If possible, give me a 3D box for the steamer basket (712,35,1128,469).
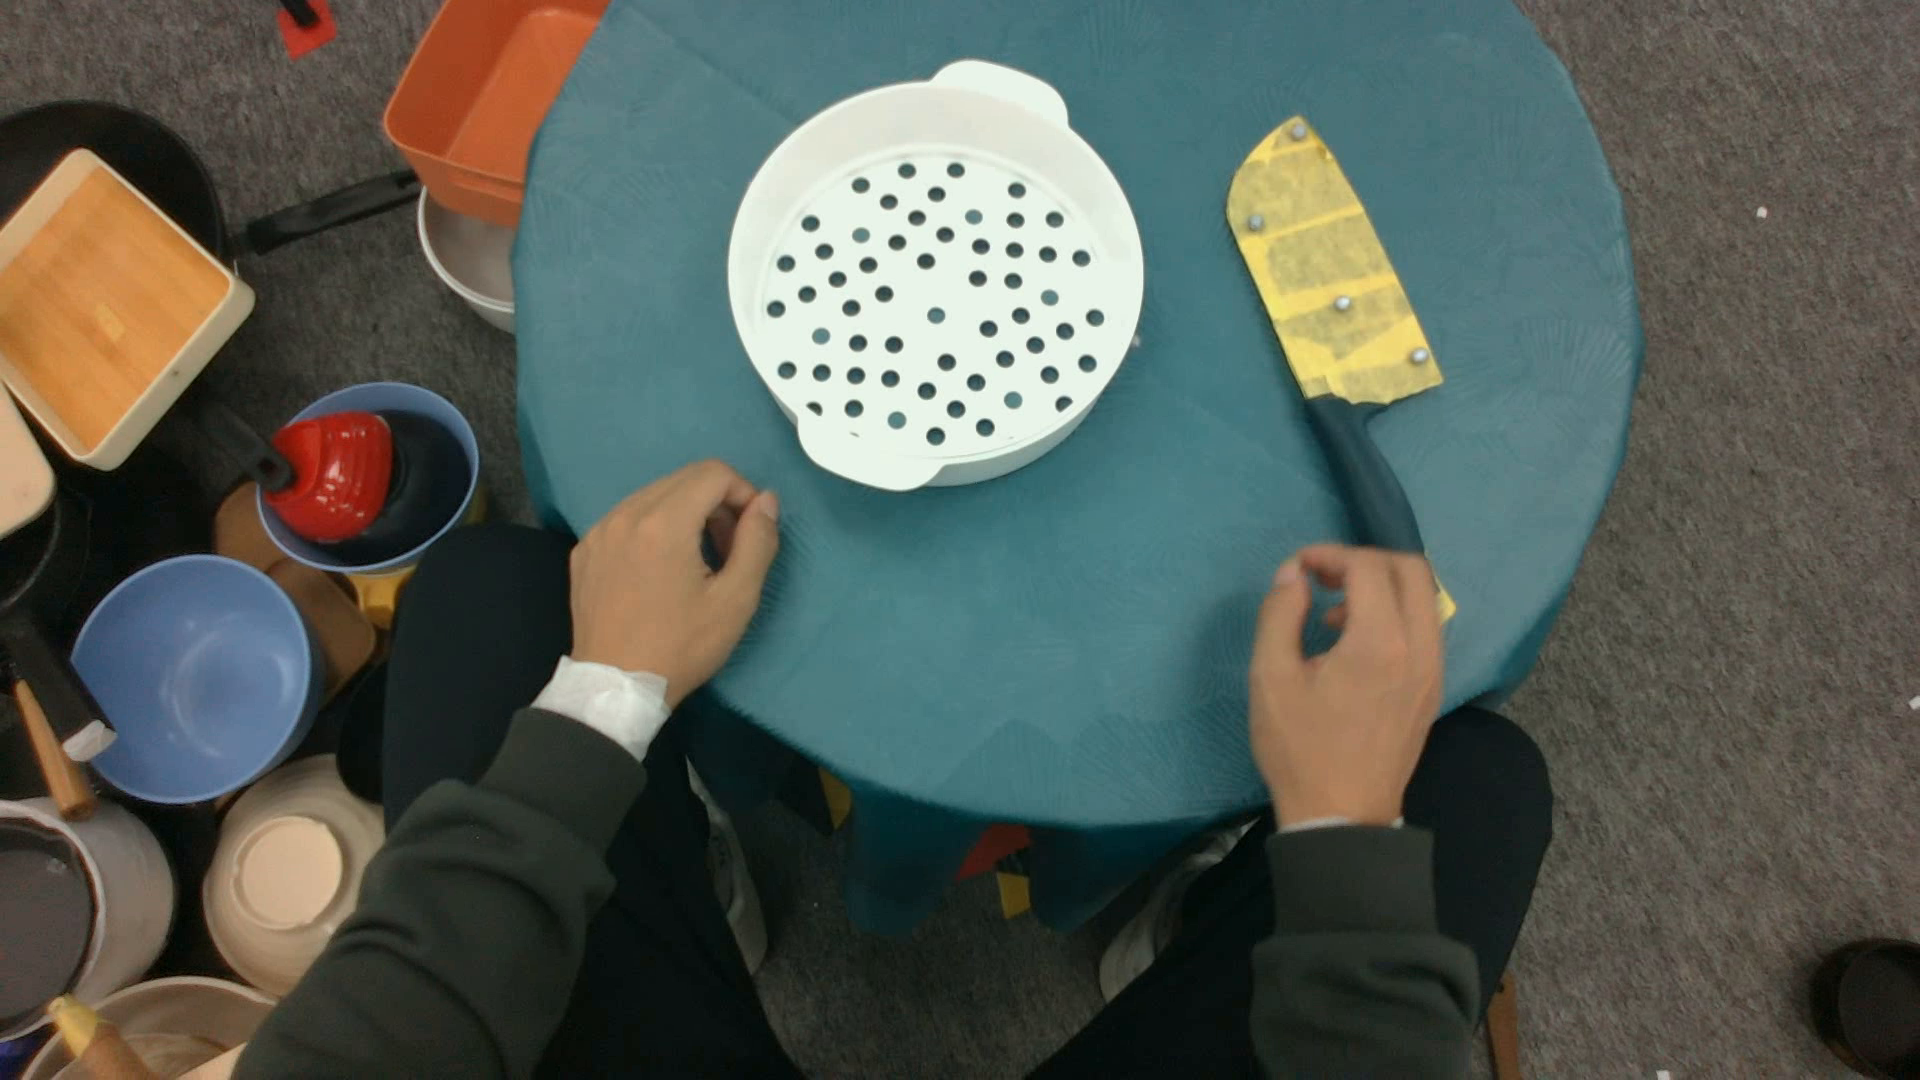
[{"bbox_3d":[-0.020,-0.138,0.694,0.202,0.069,0.231,19,77,3],"label":"steamer basket"}]

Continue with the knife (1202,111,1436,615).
[{"bbox_3d":[0.198,-0.101,0.723,0.081,0.027,0.290,-15,76,-5],"label":"knife"}]
